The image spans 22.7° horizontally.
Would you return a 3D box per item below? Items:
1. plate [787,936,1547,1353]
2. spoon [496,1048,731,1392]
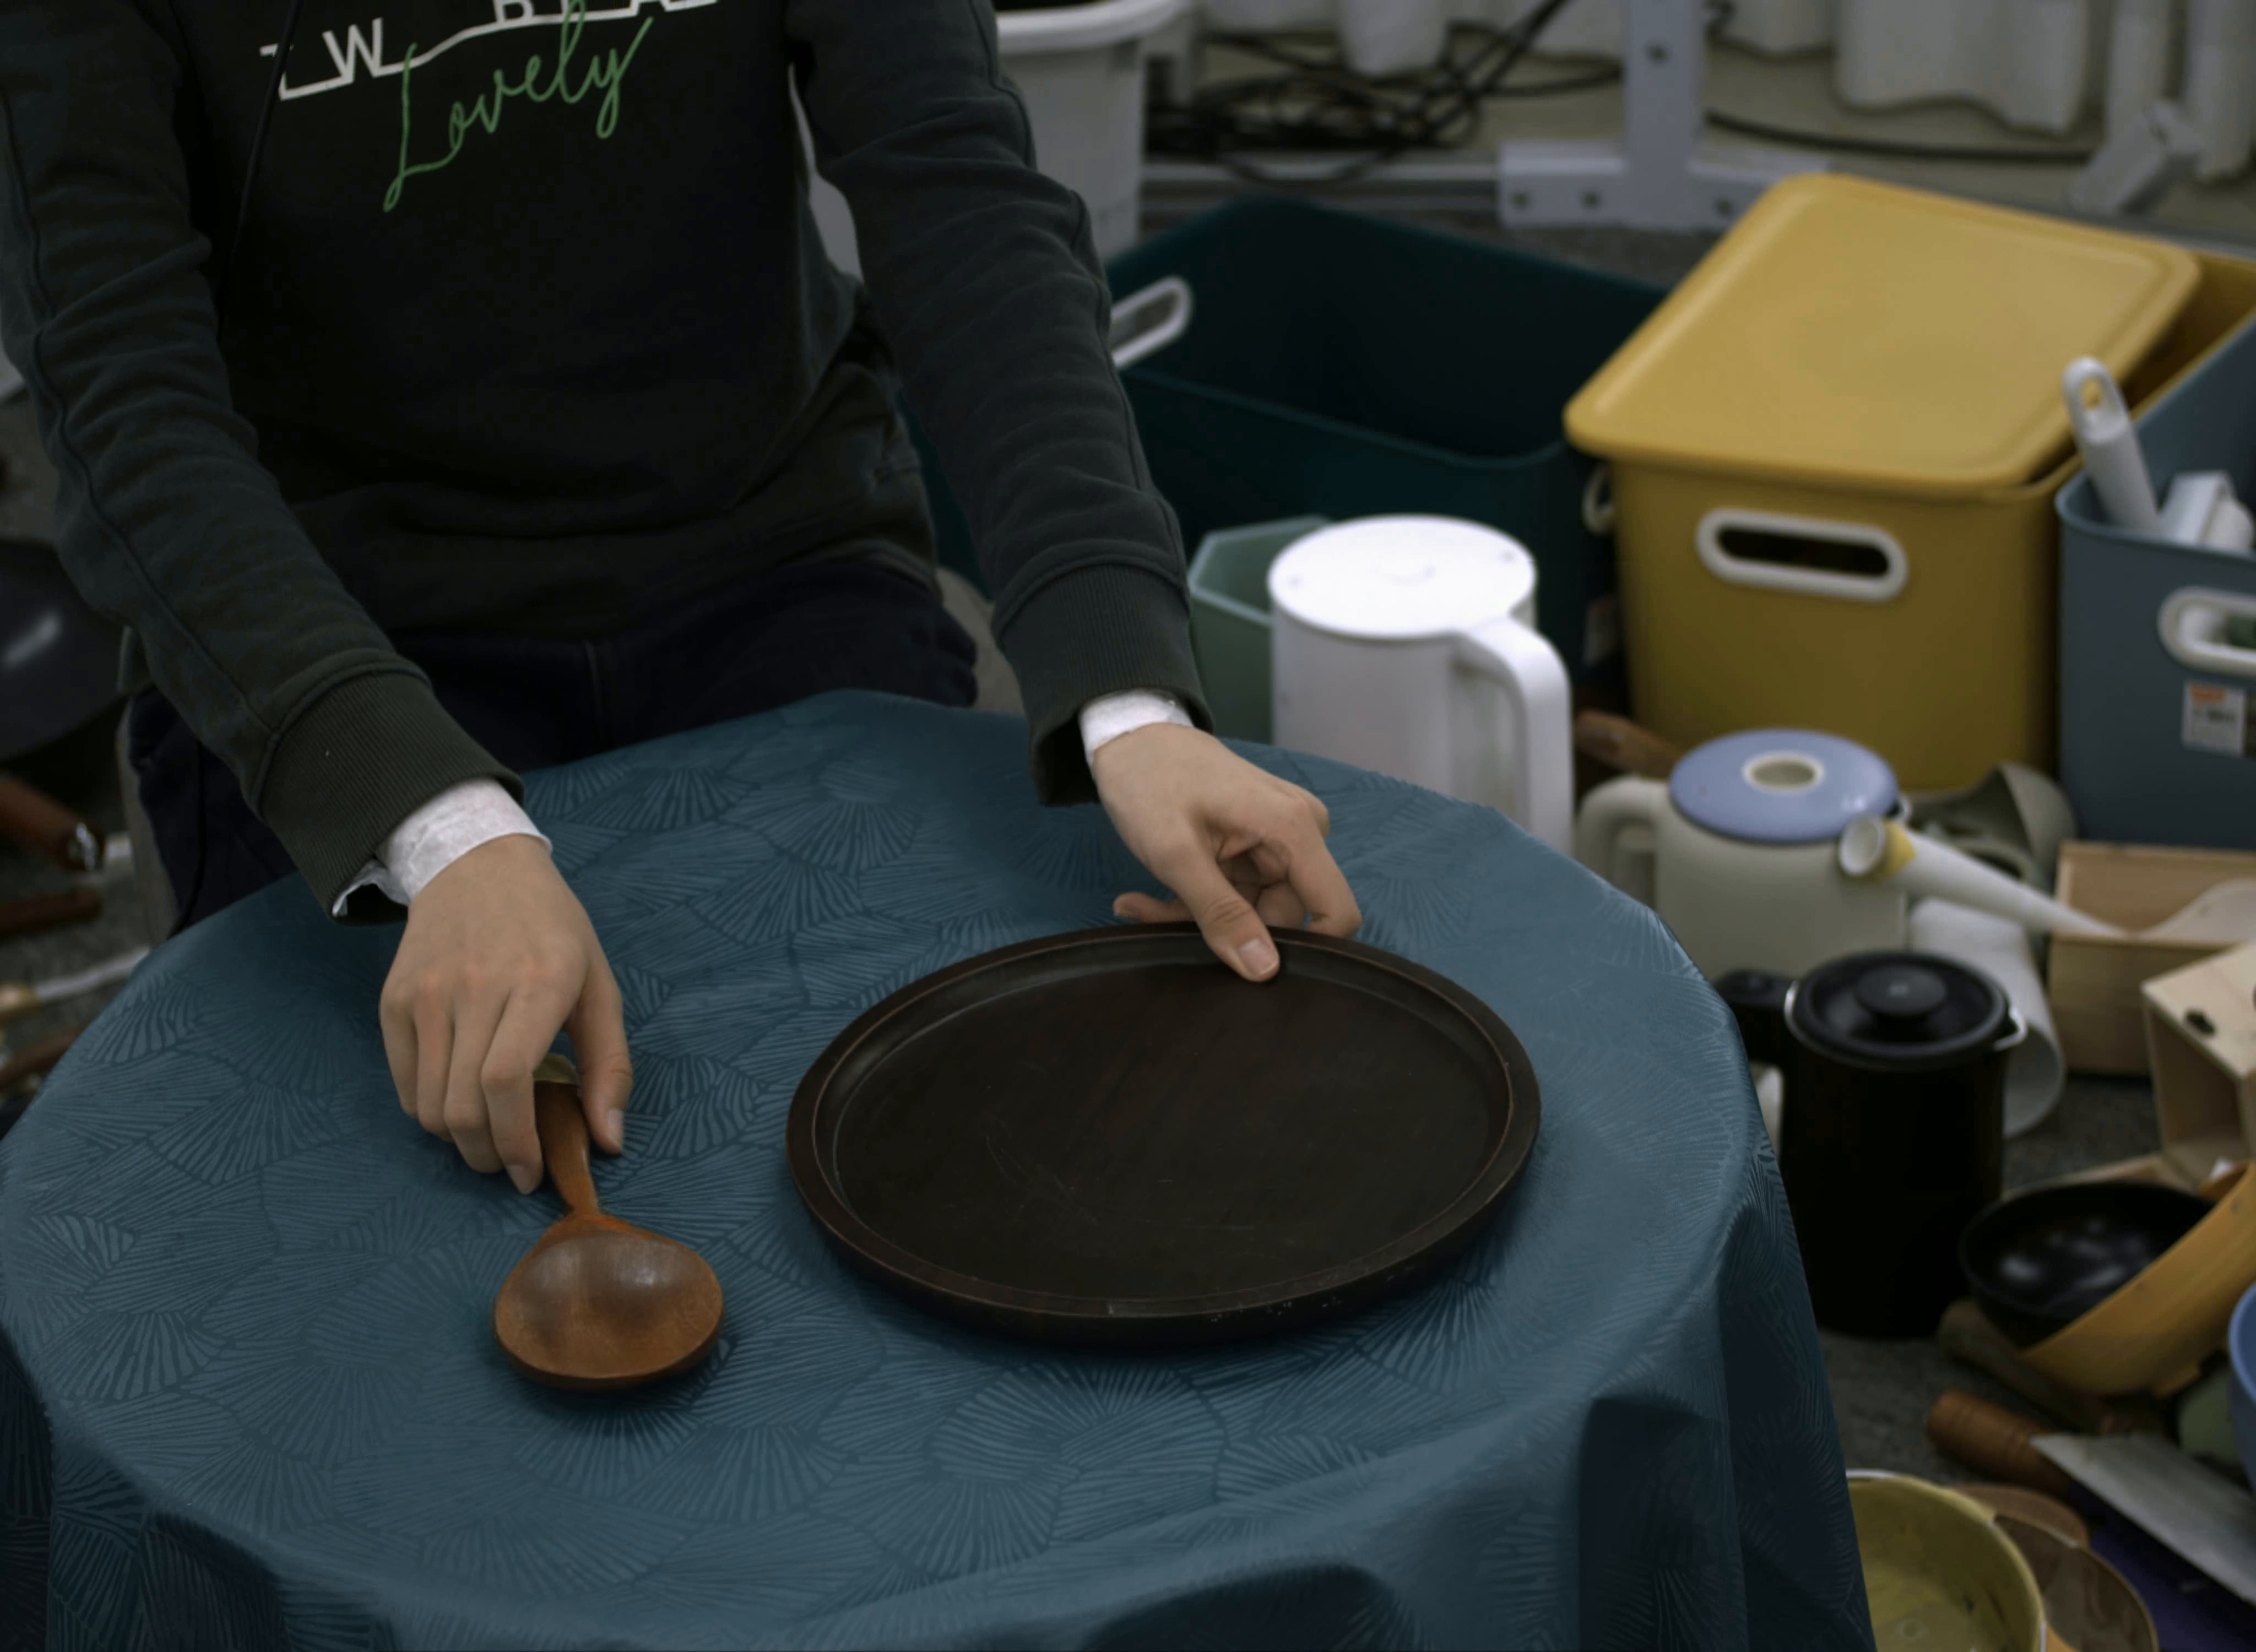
[{"bbox_3d":[0.013,0.104,1.870,0.253,0.029,0.259,-1,28,1],"label":"plate"},{"bbox_3d":[-0.178,0.130,1.844,0.075,0.017,0.218,-9,28,-10],"label":"spoon"}]
